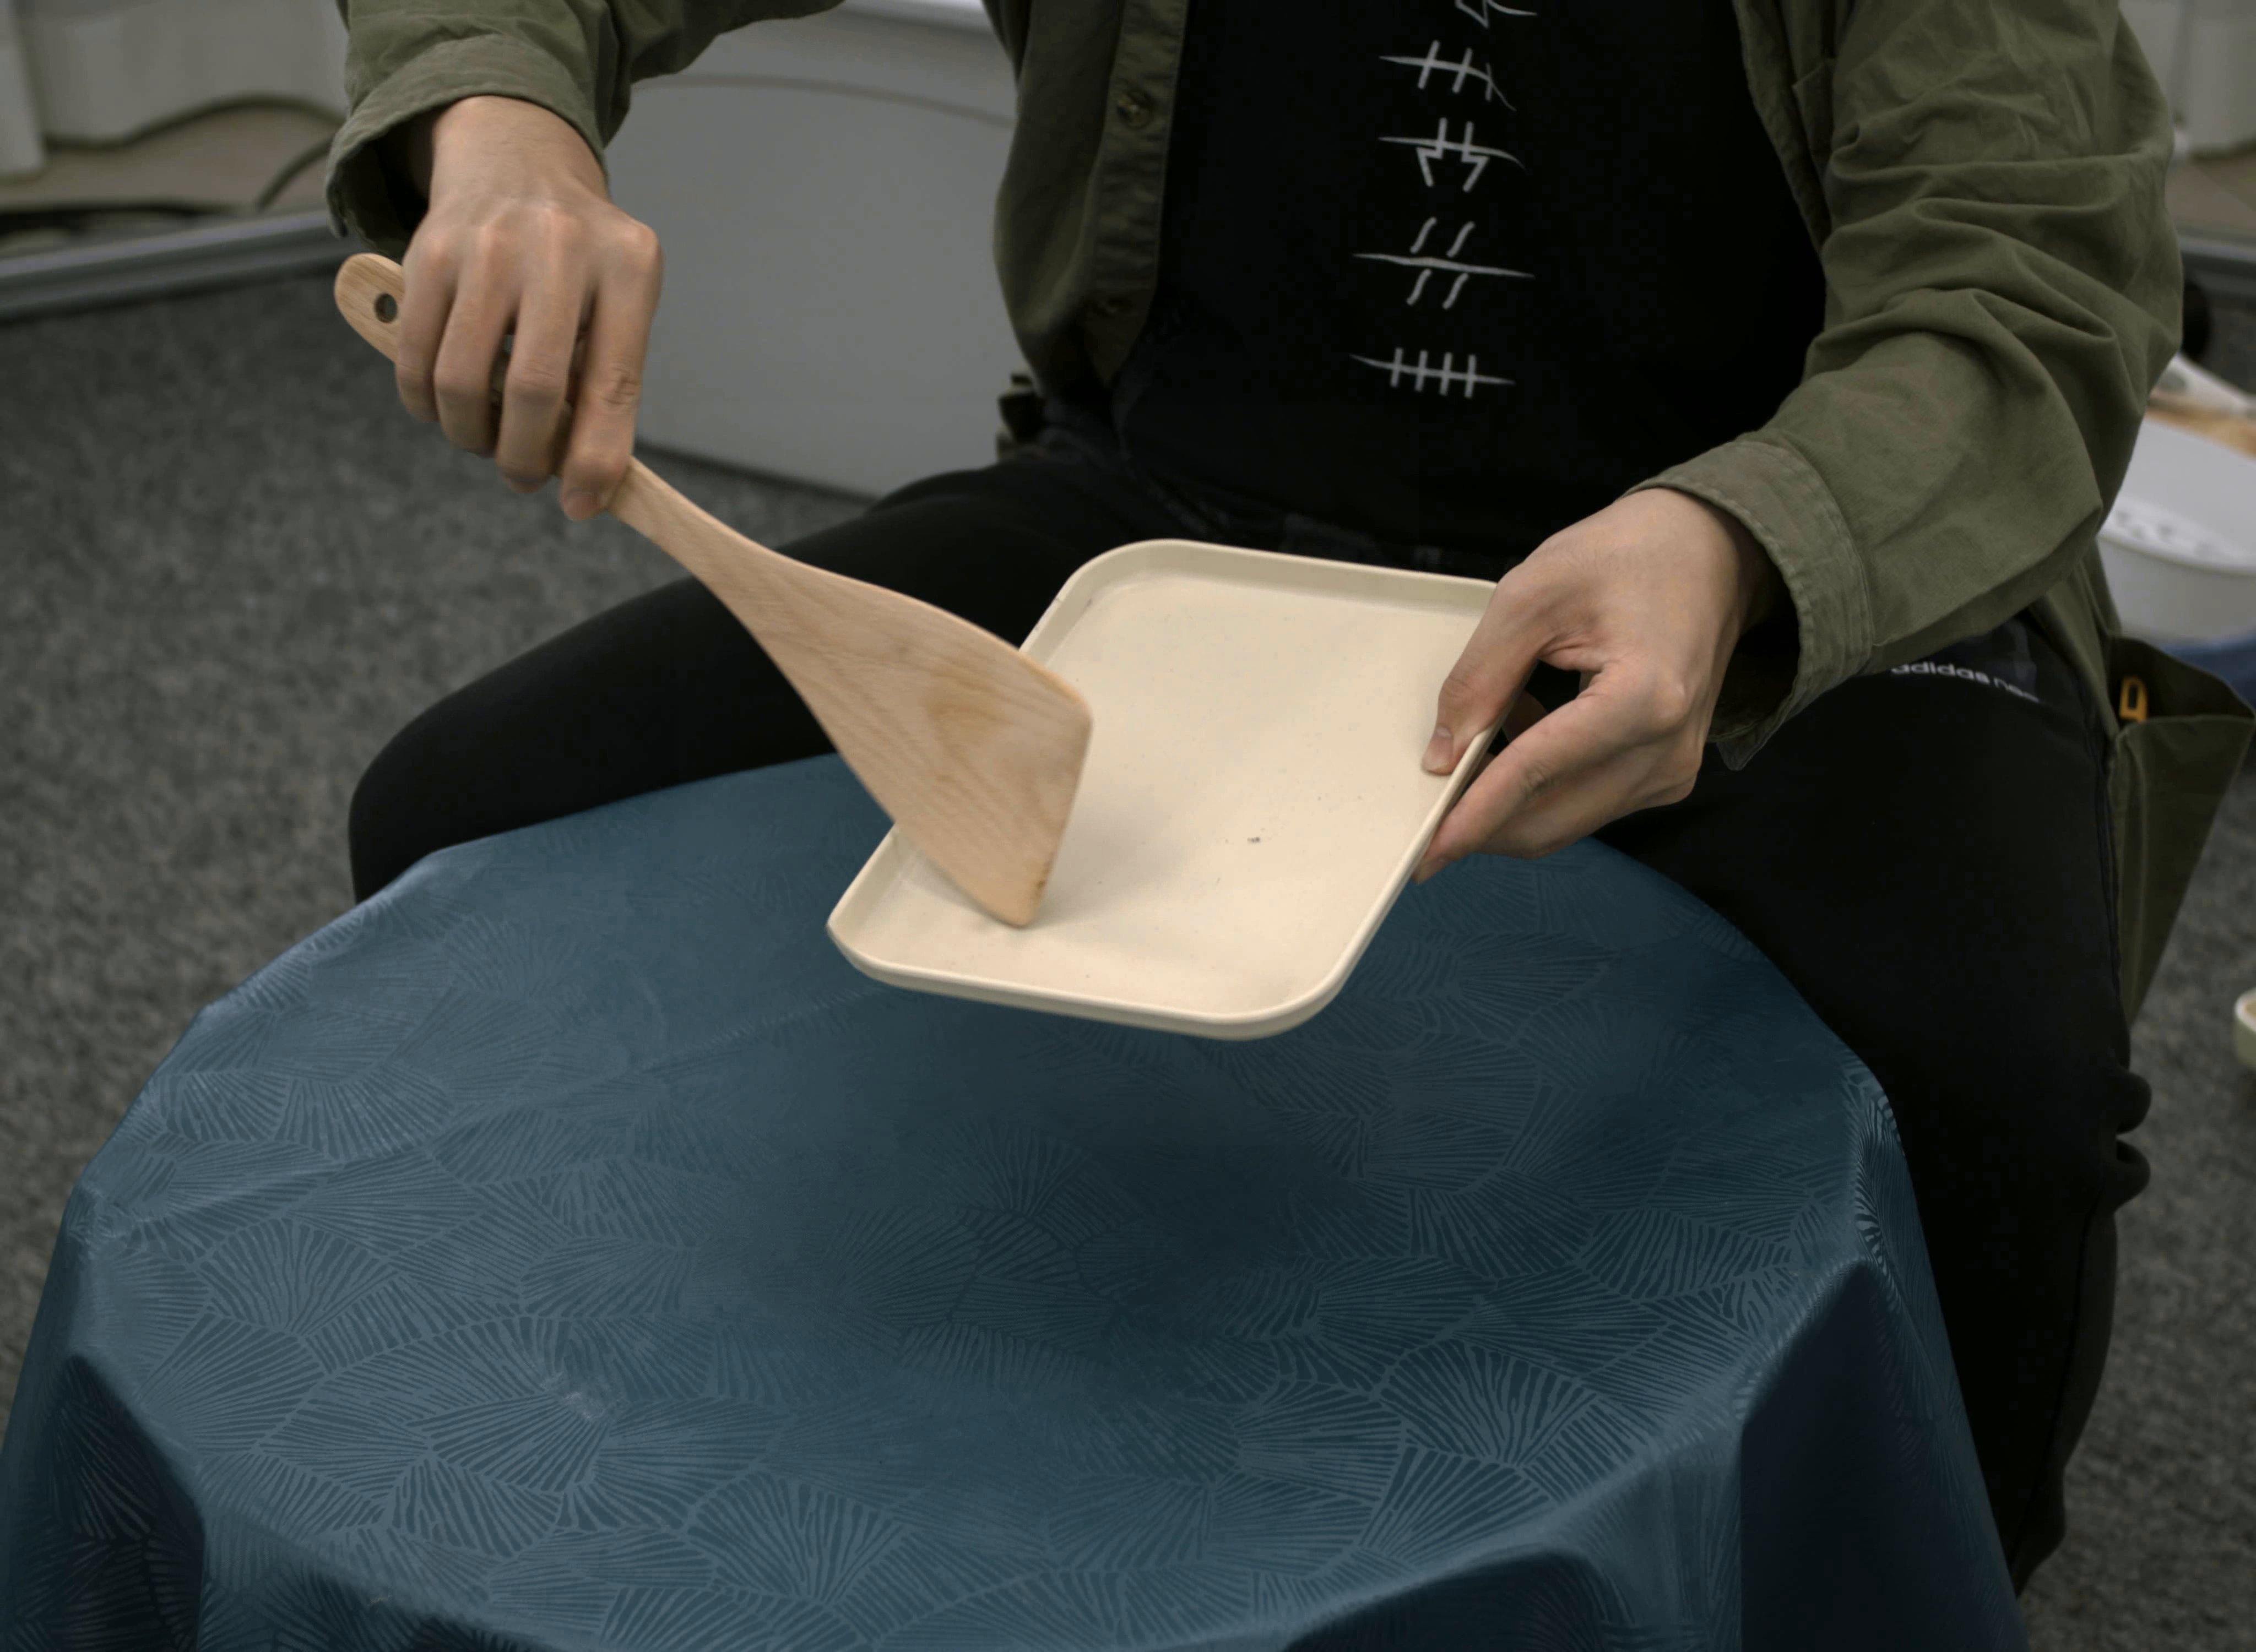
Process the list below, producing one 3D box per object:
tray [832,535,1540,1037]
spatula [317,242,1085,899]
[{"bbox_3d":[0.022,-0.015,1.795,0.170,0.017,0.244,9,39,22],"label":"tray"},{"bbox_3d":[-0.141,-0.096,1.800,0.328,0.079,0.017,35,24,19],"label":"spatula"}]
